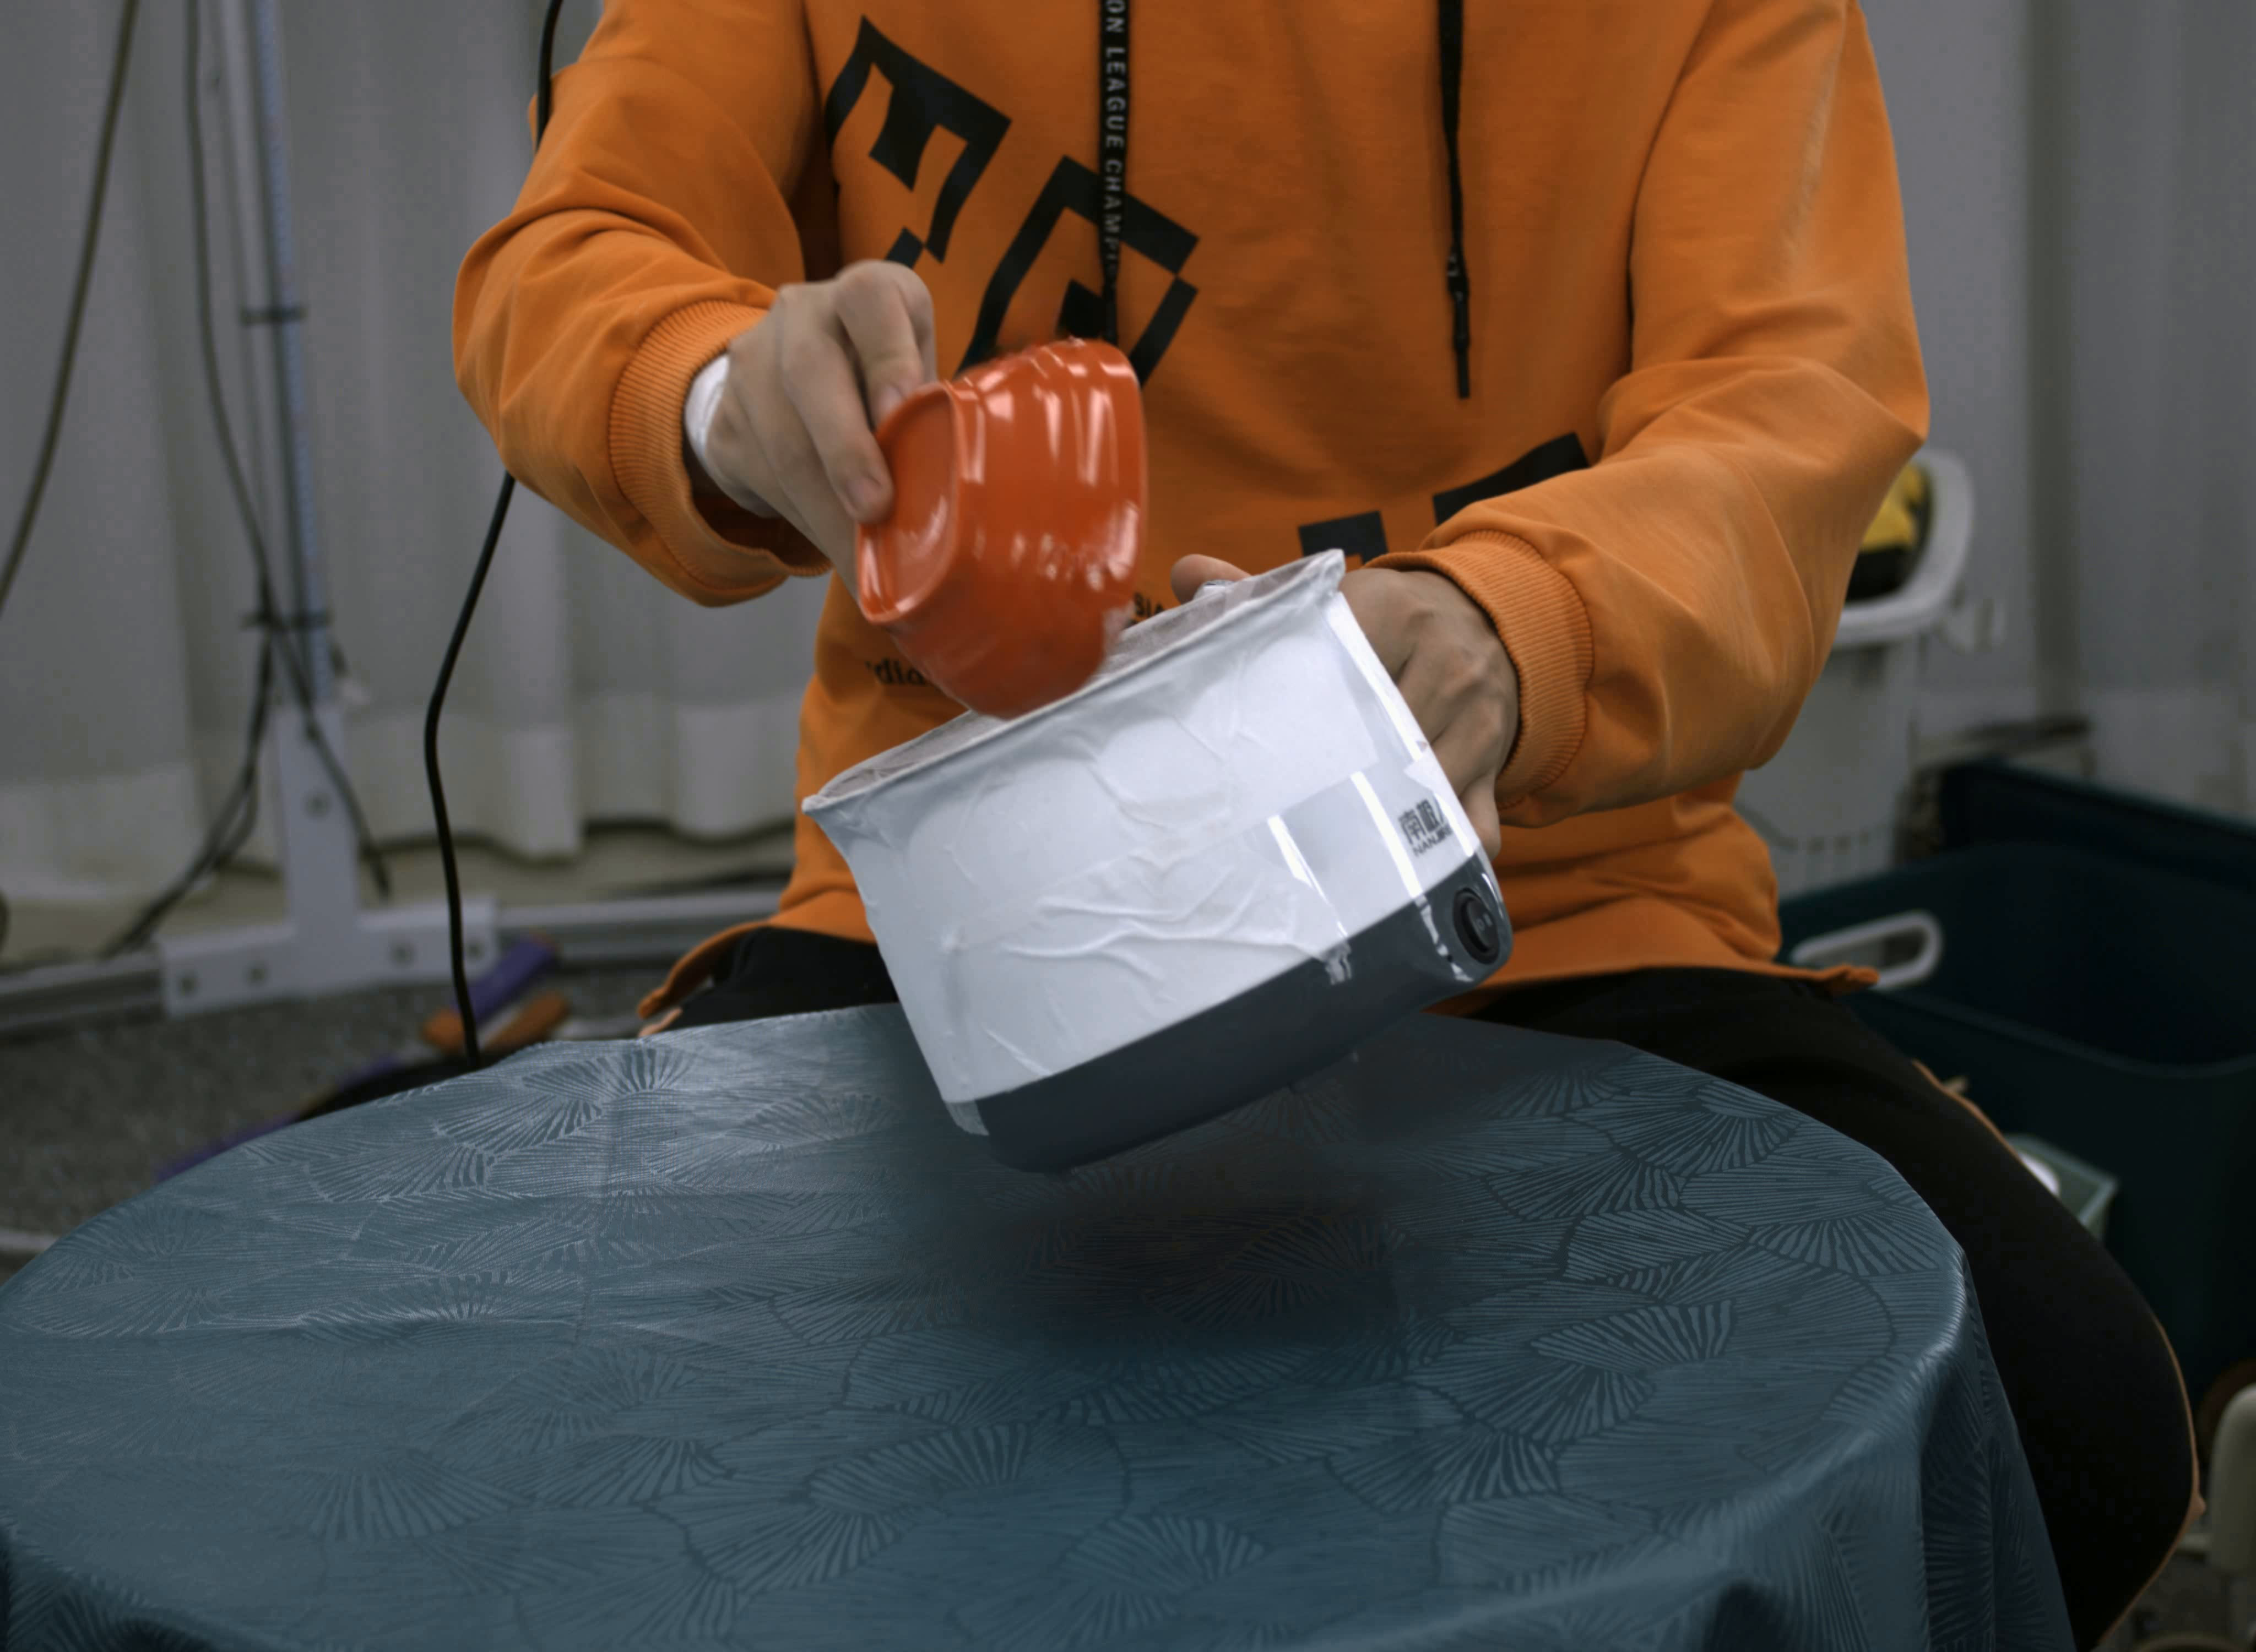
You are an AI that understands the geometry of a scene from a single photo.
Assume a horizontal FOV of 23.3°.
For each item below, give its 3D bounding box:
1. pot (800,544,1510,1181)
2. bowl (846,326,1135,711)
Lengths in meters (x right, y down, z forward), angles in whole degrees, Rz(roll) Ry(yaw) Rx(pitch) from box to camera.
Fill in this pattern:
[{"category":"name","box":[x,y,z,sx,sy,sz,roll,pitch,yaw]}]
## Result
[{"category":"pot","box":[0.021,0.005,1.640,0.178,0.136,0.234,-23,5,29]},{"category":"bowl","box":[-0.046,-0.092,1.596,0.051,0.119,0.120,9,8,-27]}]
